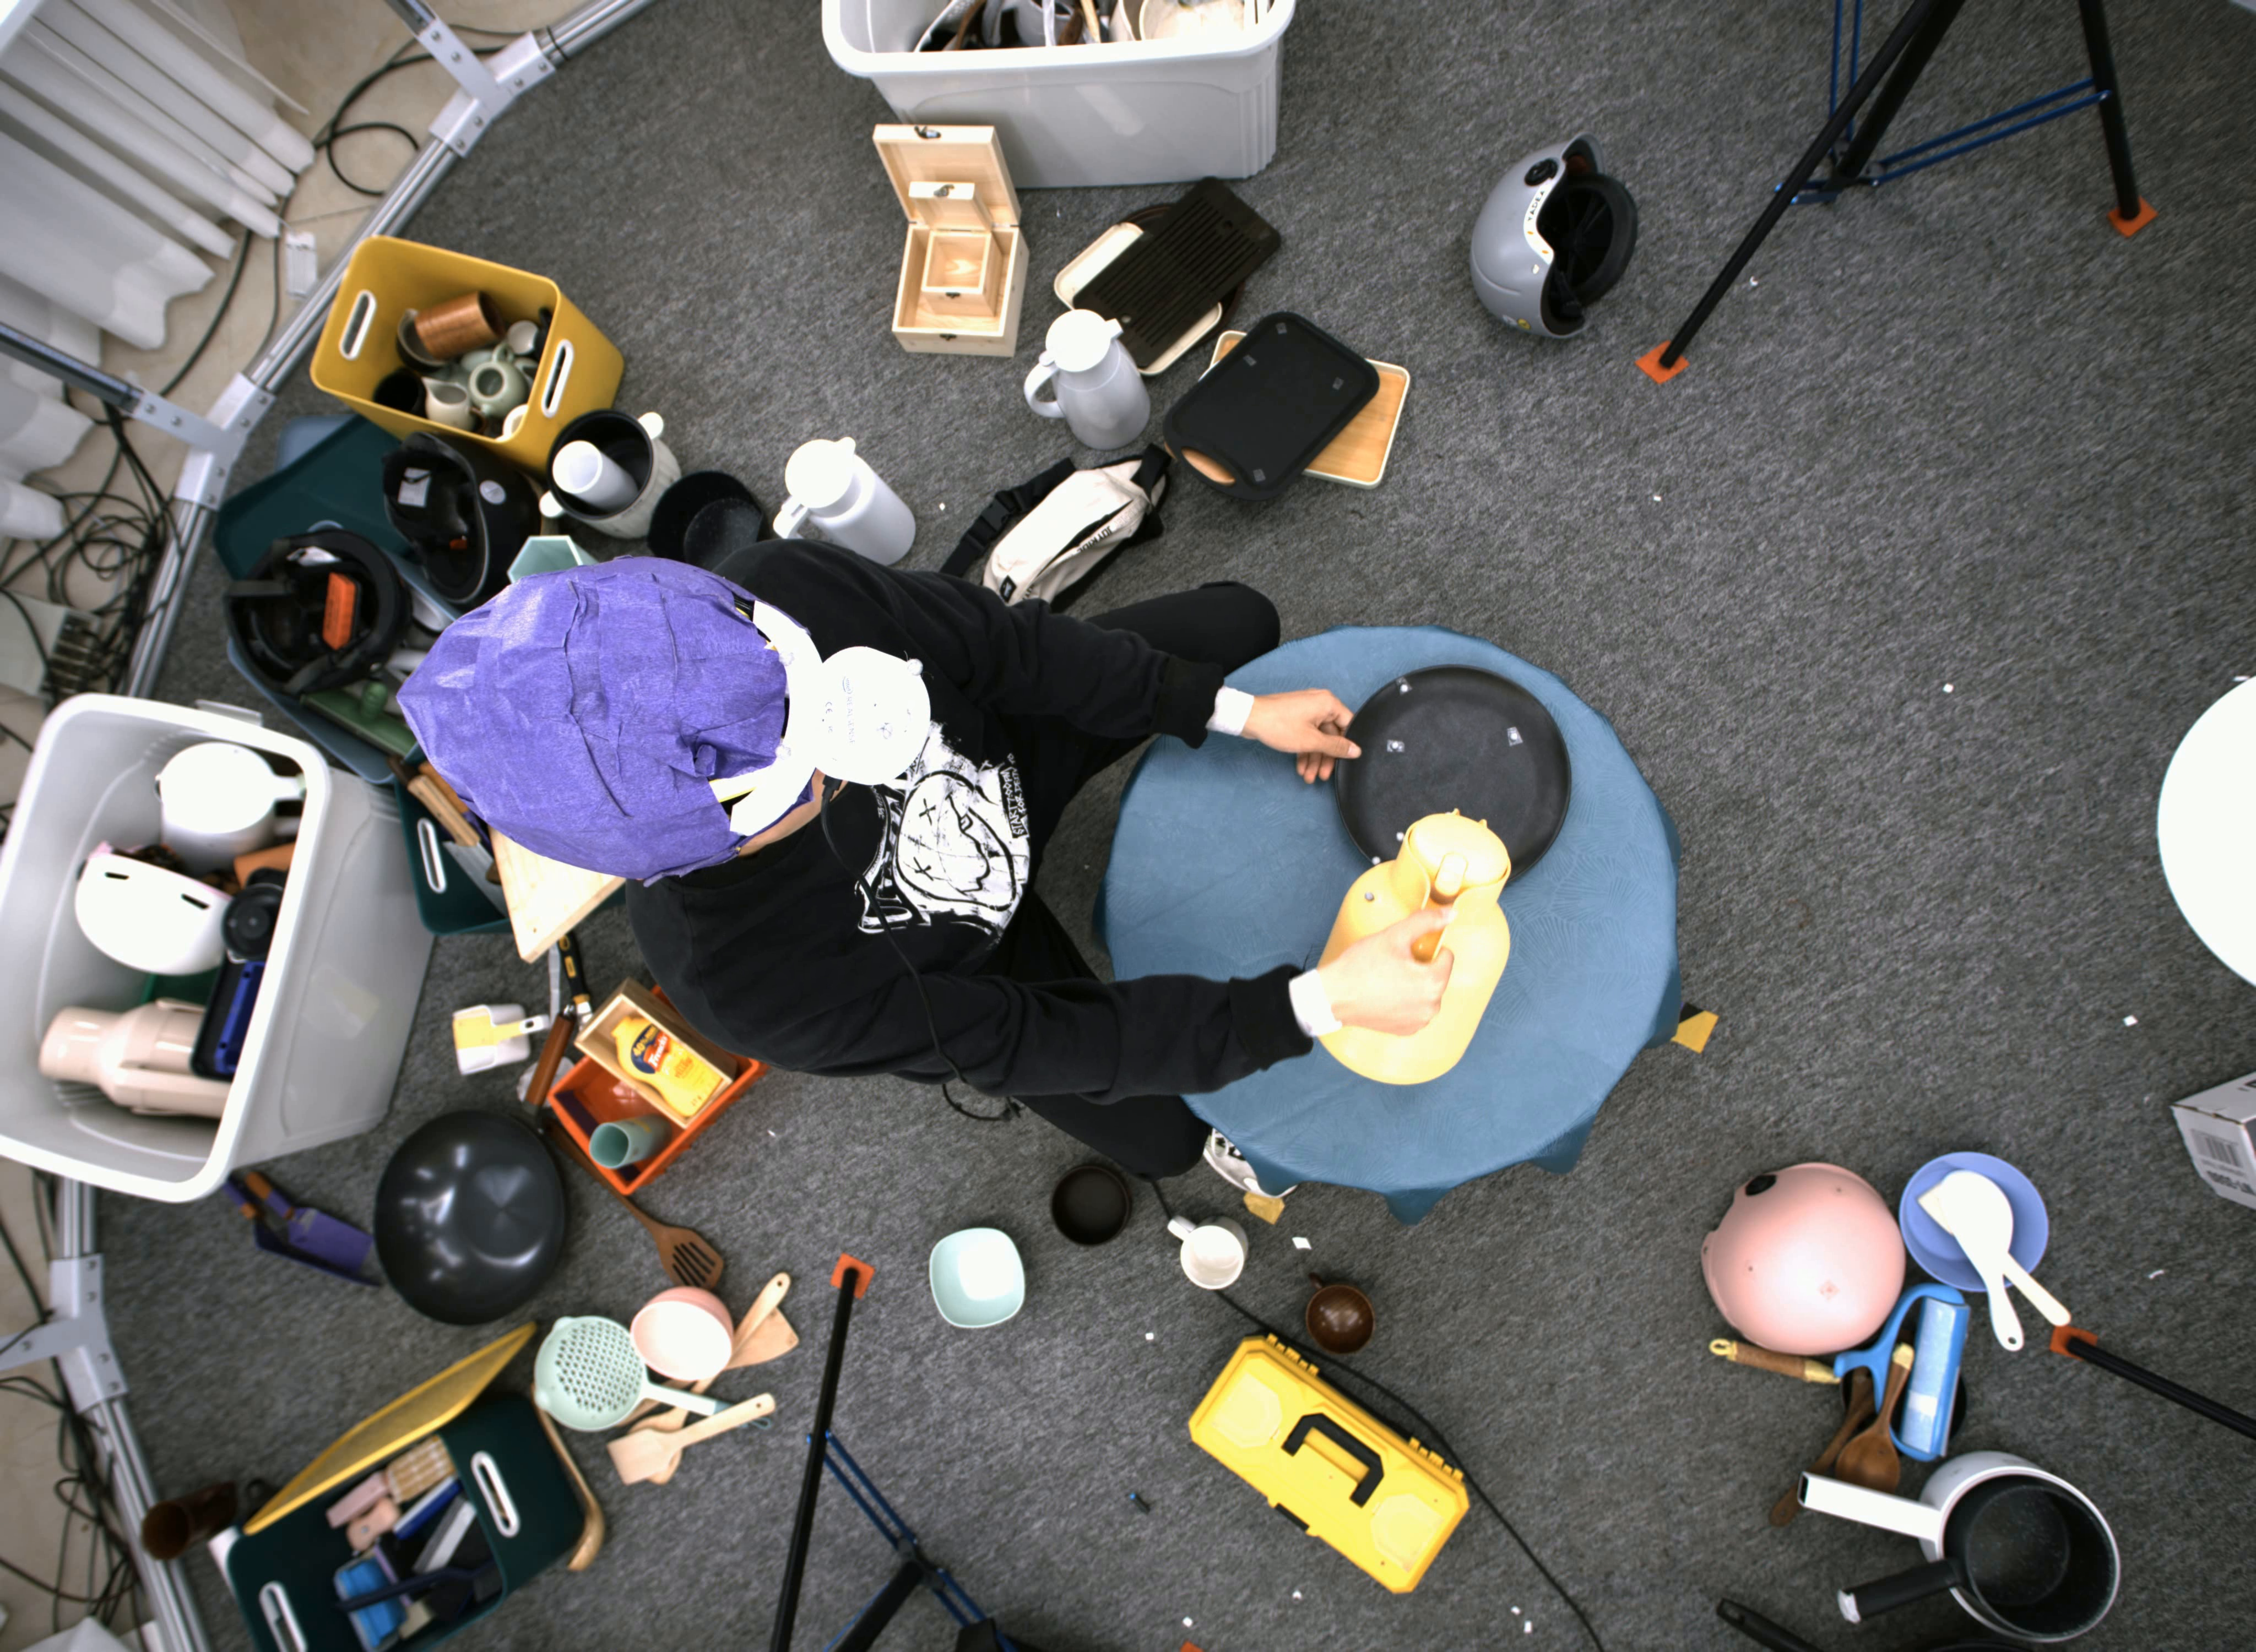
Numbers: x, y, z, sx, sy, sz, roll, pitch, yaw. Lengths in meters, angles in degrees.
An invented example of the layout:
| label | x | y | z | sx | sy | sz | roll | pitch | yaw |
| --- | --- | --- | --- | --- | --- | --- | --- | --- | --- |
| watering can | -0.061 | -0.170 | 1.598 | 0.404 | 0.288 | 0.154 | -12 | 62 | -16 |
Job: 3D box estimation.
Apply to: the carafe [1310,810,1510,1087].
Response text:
| label | x | y | z | sx | sy | sz | roll | pitch | yaw |
| --- | --- | --- | --- | --- | --- | --- | --- | --- | --- |
| carafe | 0.265 | 0.119 | 1.286 | 0.163 | 0.197 | 0.267 | 22 | 128 | 15 |

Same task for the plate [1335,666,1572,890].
| label | x | y | z | sx | sy | sz | roll | pitch | yaw |
| --- | --- | --- | --- | --- | --- | --- | --- | --- | --- |
| plate | 0.338 | -0.048 | 1.436 | 0.245 | 0.023 | 0.244 | 0 | 89 | 8 |
